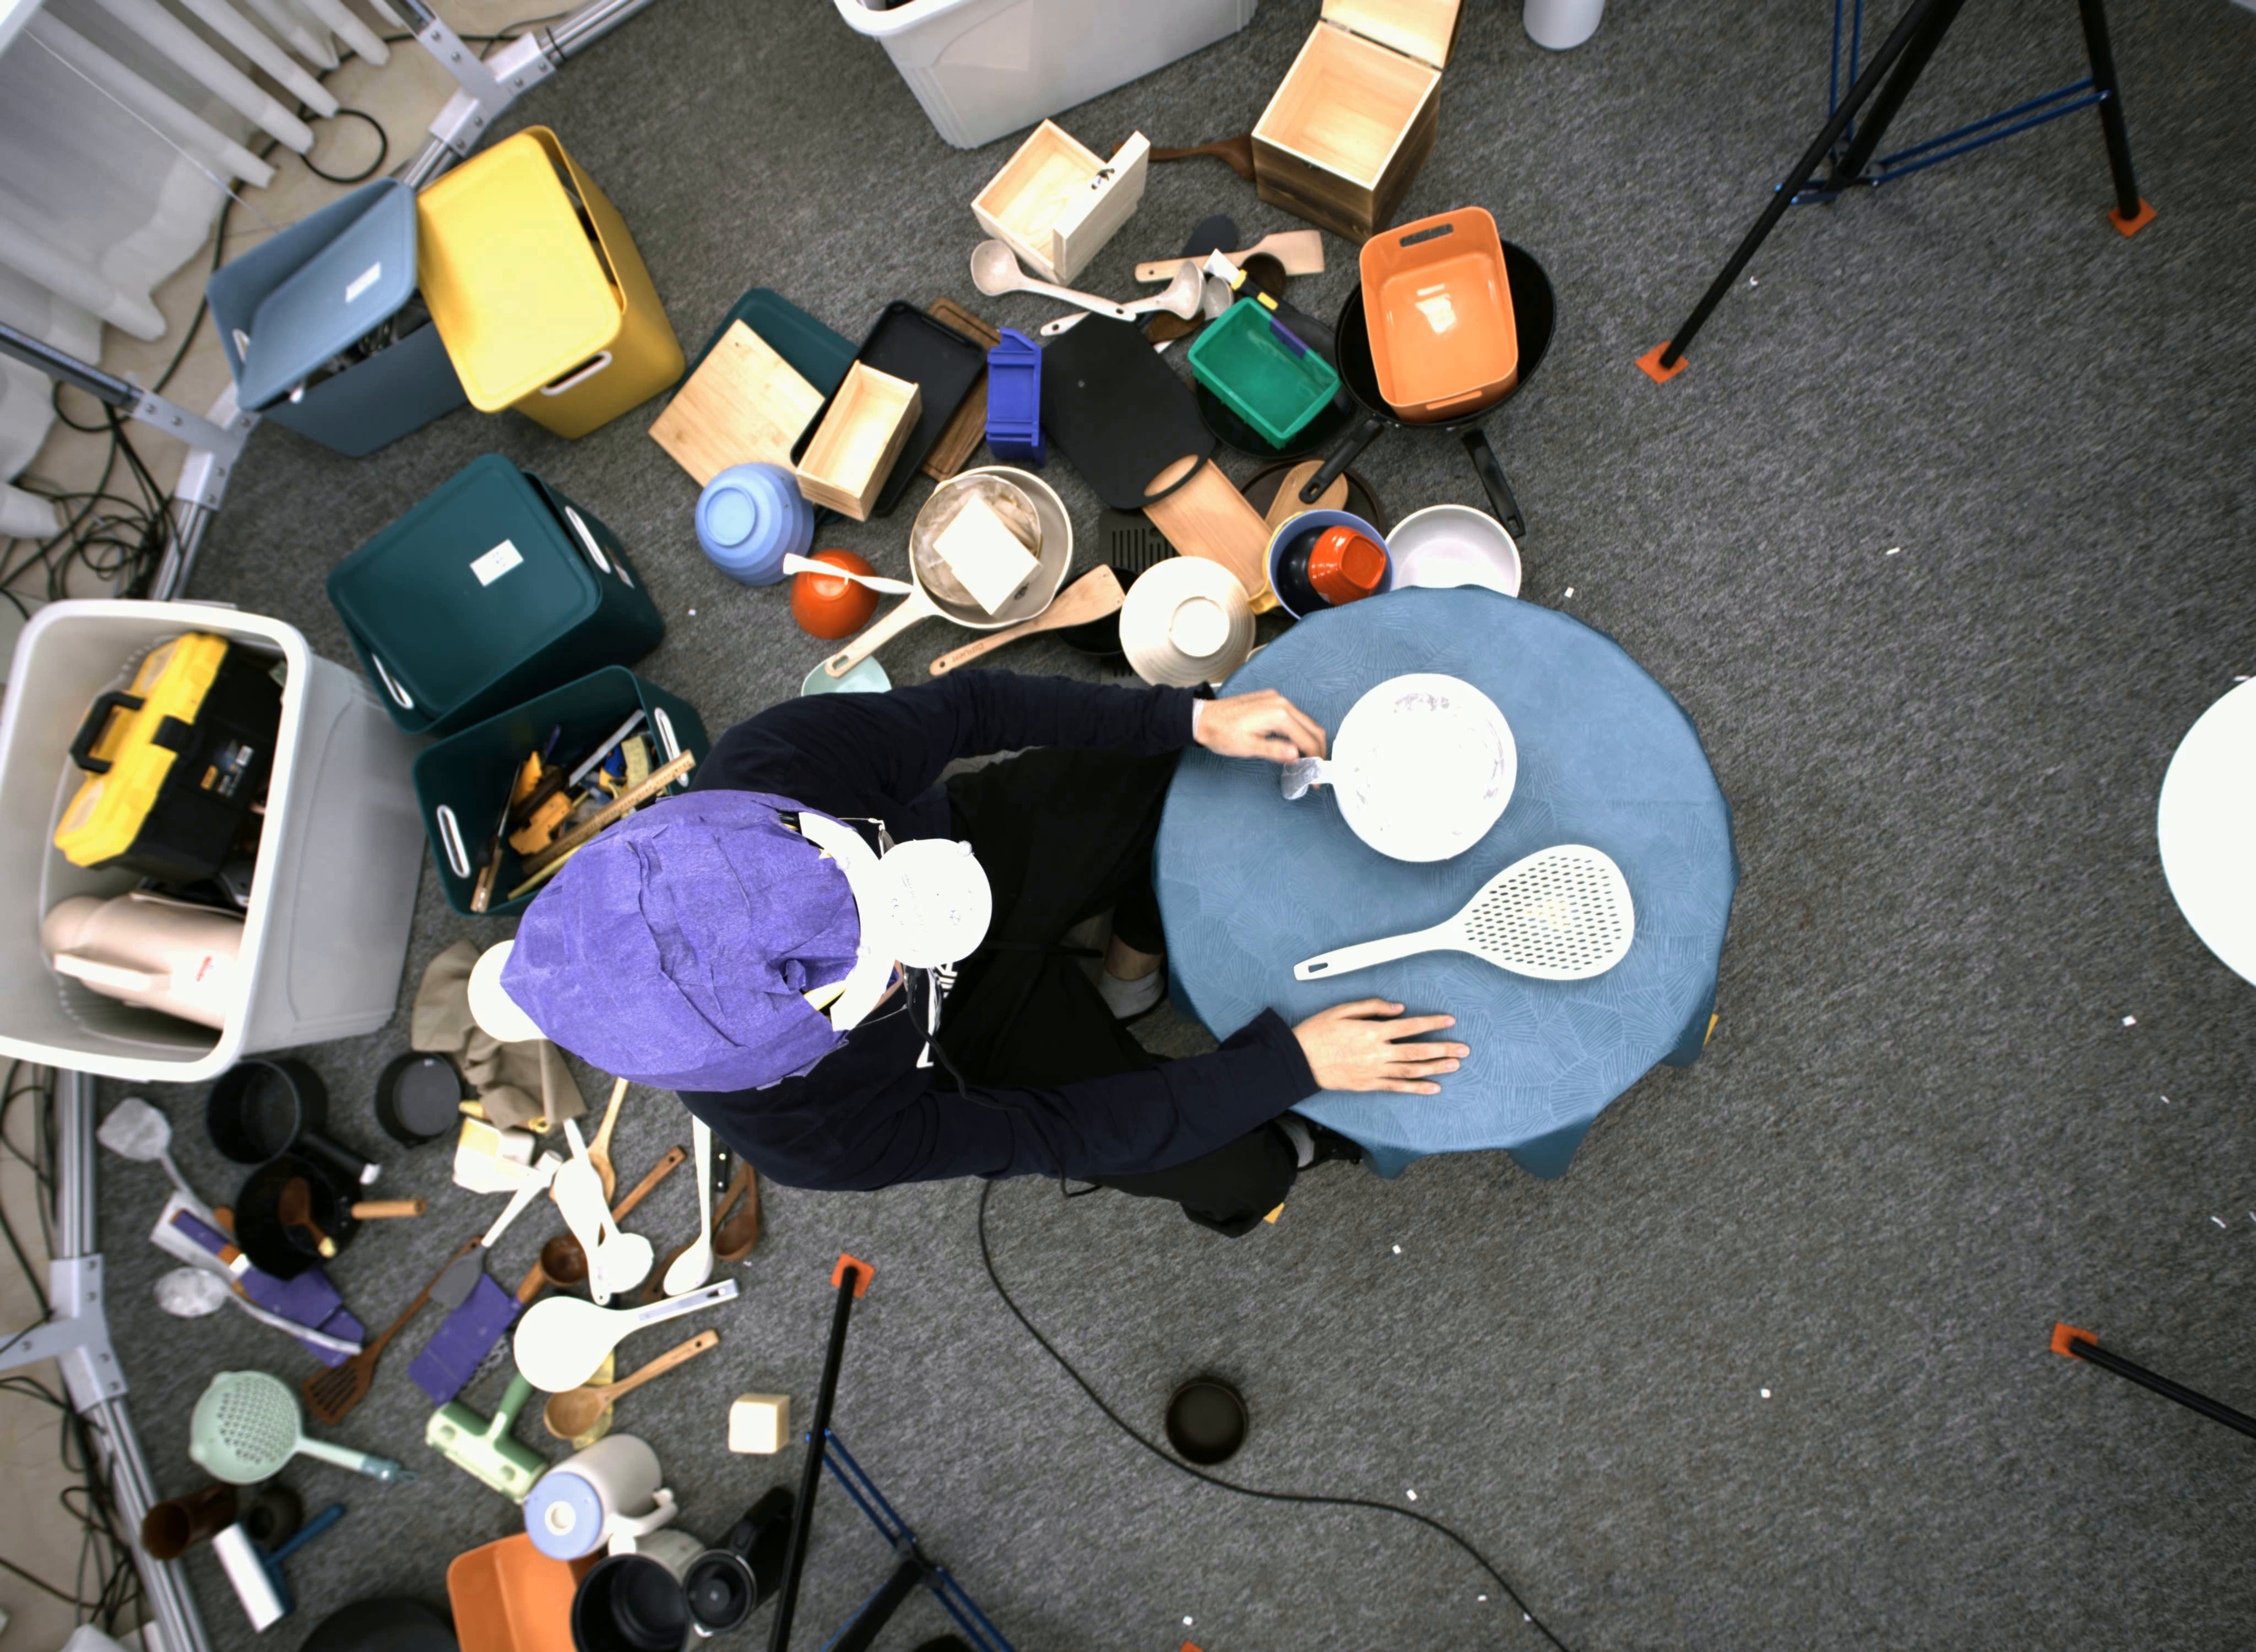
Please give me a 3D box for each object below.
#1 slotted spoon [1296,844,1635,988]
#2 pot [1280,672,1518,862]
[{"bbox_3d":[0.341,0.113,1.422,0.350,0.050,0.136,-14,85,9],"label":"slotted spoon"},{"bbox_3d":[0.270,-0.054,1.398,0.235,0.137,0.177,-3,83,10],"label":"pot"}]
